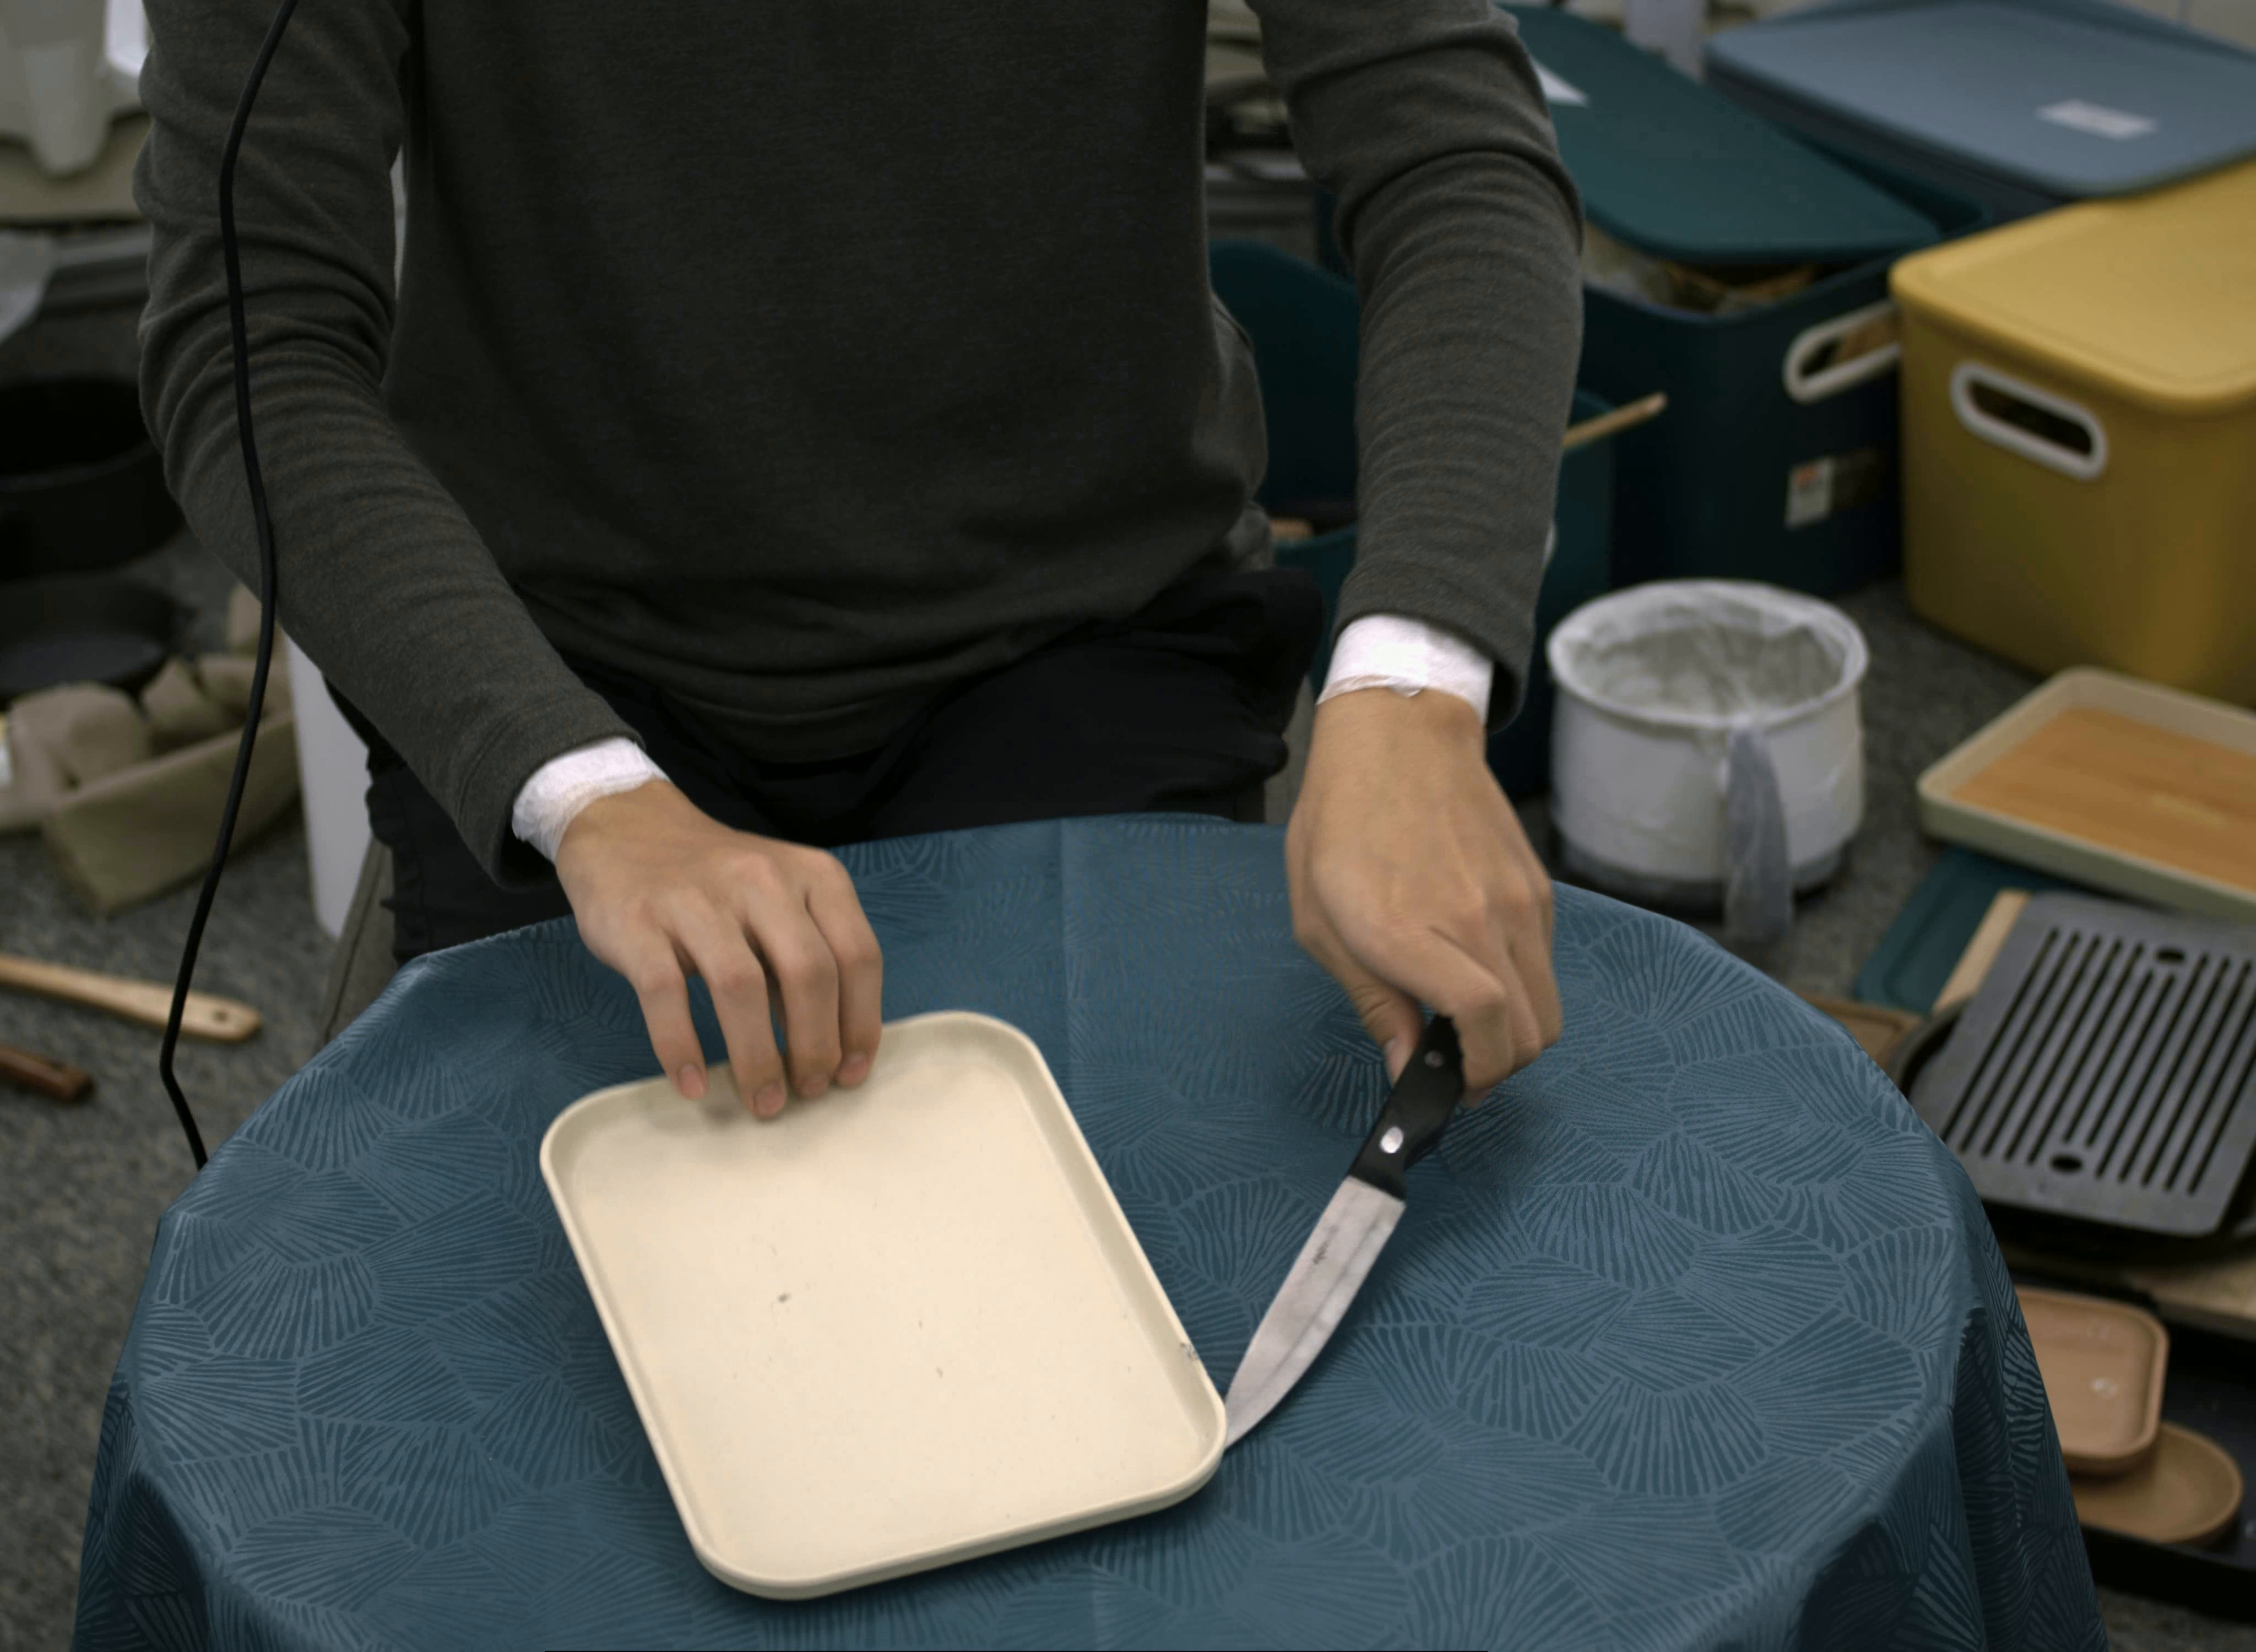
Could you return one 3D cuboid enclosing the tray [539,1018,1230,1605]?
[{"bbox_3d":[-0.079,0.150,1.758,0.171,0.017,0.242,-13,38,-14],"label":"tray"}]

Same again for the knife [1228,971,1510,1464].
[{"bbox_3d":[0.074,0.122,1.802,0.024,0.016,0.243,24,44,9],"label":"knife"}]
